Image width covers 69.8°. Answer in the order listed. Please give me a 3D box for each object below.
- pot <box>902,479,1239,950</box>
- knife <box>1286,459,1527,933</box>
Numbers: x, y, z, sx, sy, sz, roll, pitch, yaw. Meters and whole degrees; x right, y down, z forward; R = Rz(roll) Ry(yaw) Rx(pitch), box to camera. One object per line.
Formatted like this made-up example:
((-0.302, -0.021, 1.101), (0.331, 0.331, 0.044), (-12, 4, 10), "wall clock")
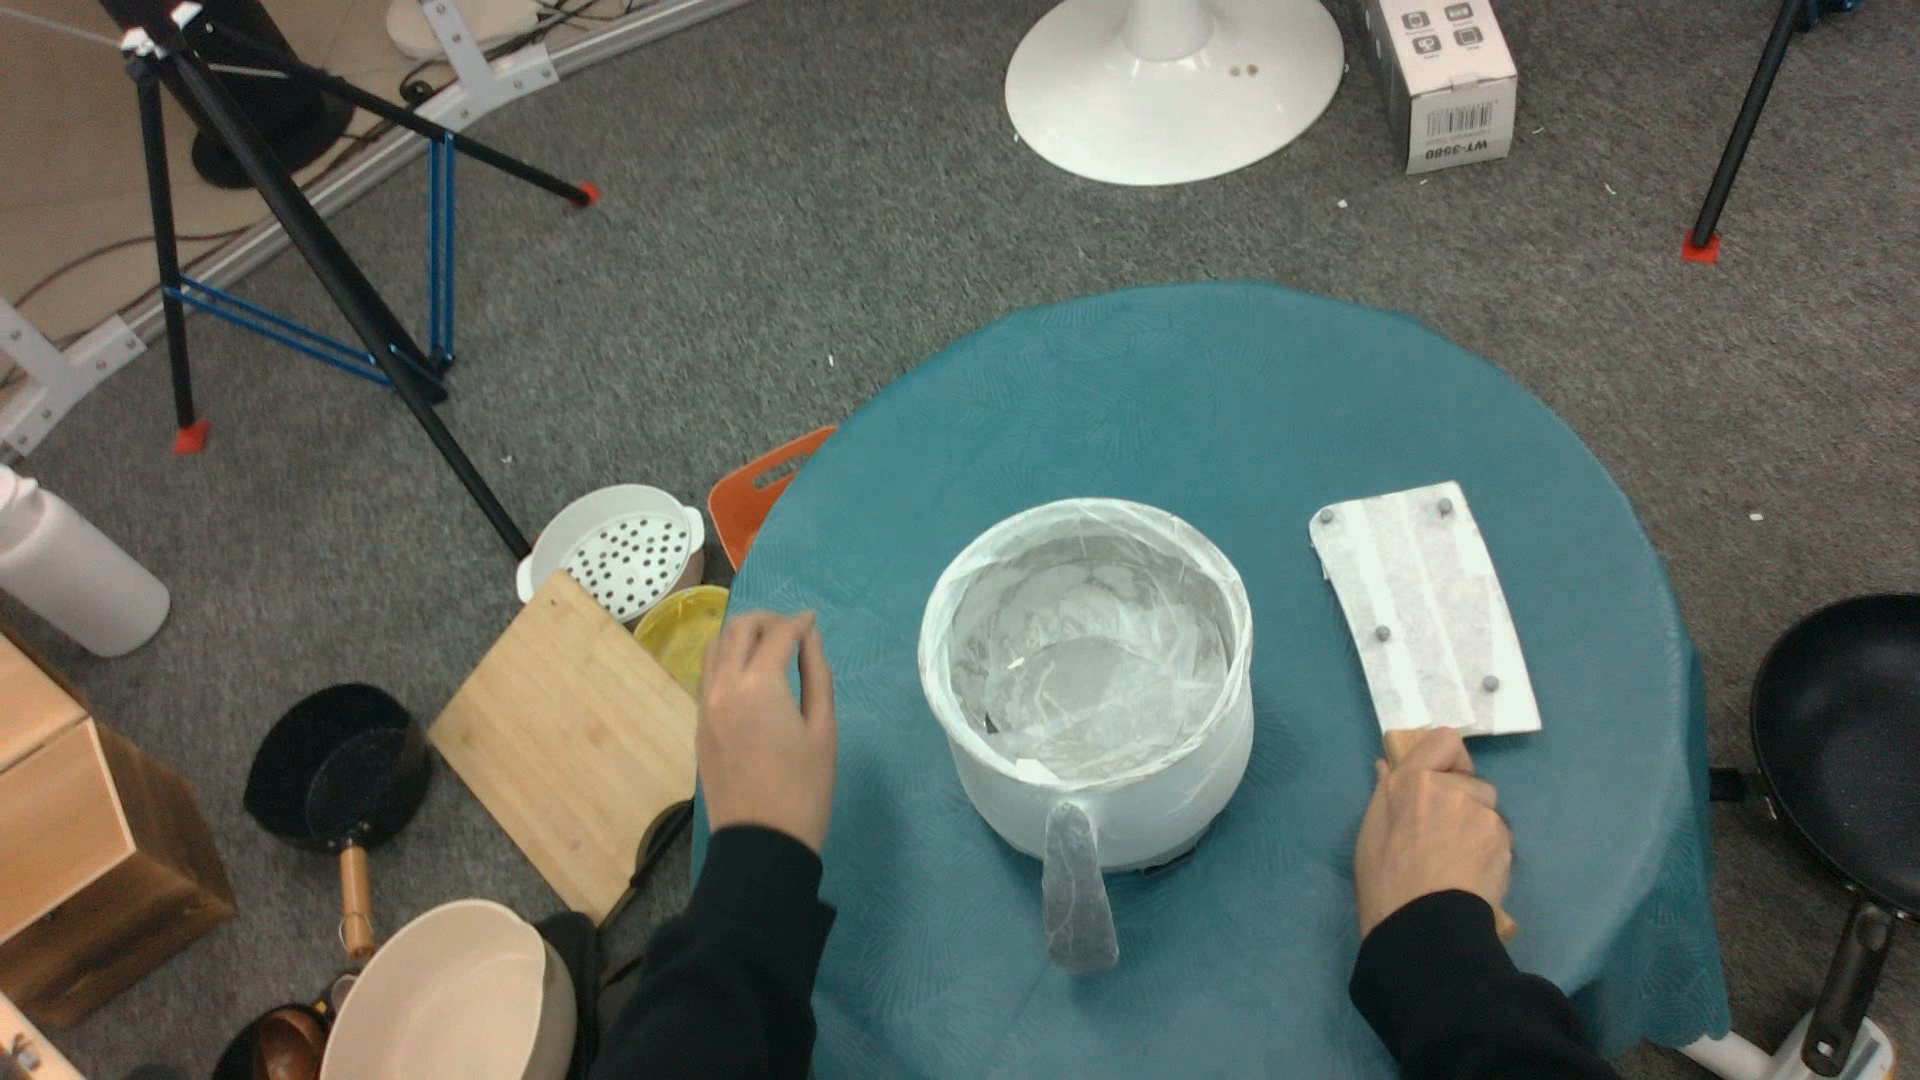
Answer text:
((0.065, 0.097, 0.759), (0.178, 0.136, 0.235), (-2, 55, 11), "pot")
((0.264, 0.075, 0.799), (0.114, 0.021, 0.317), (-6, 50, 8), "knife")
